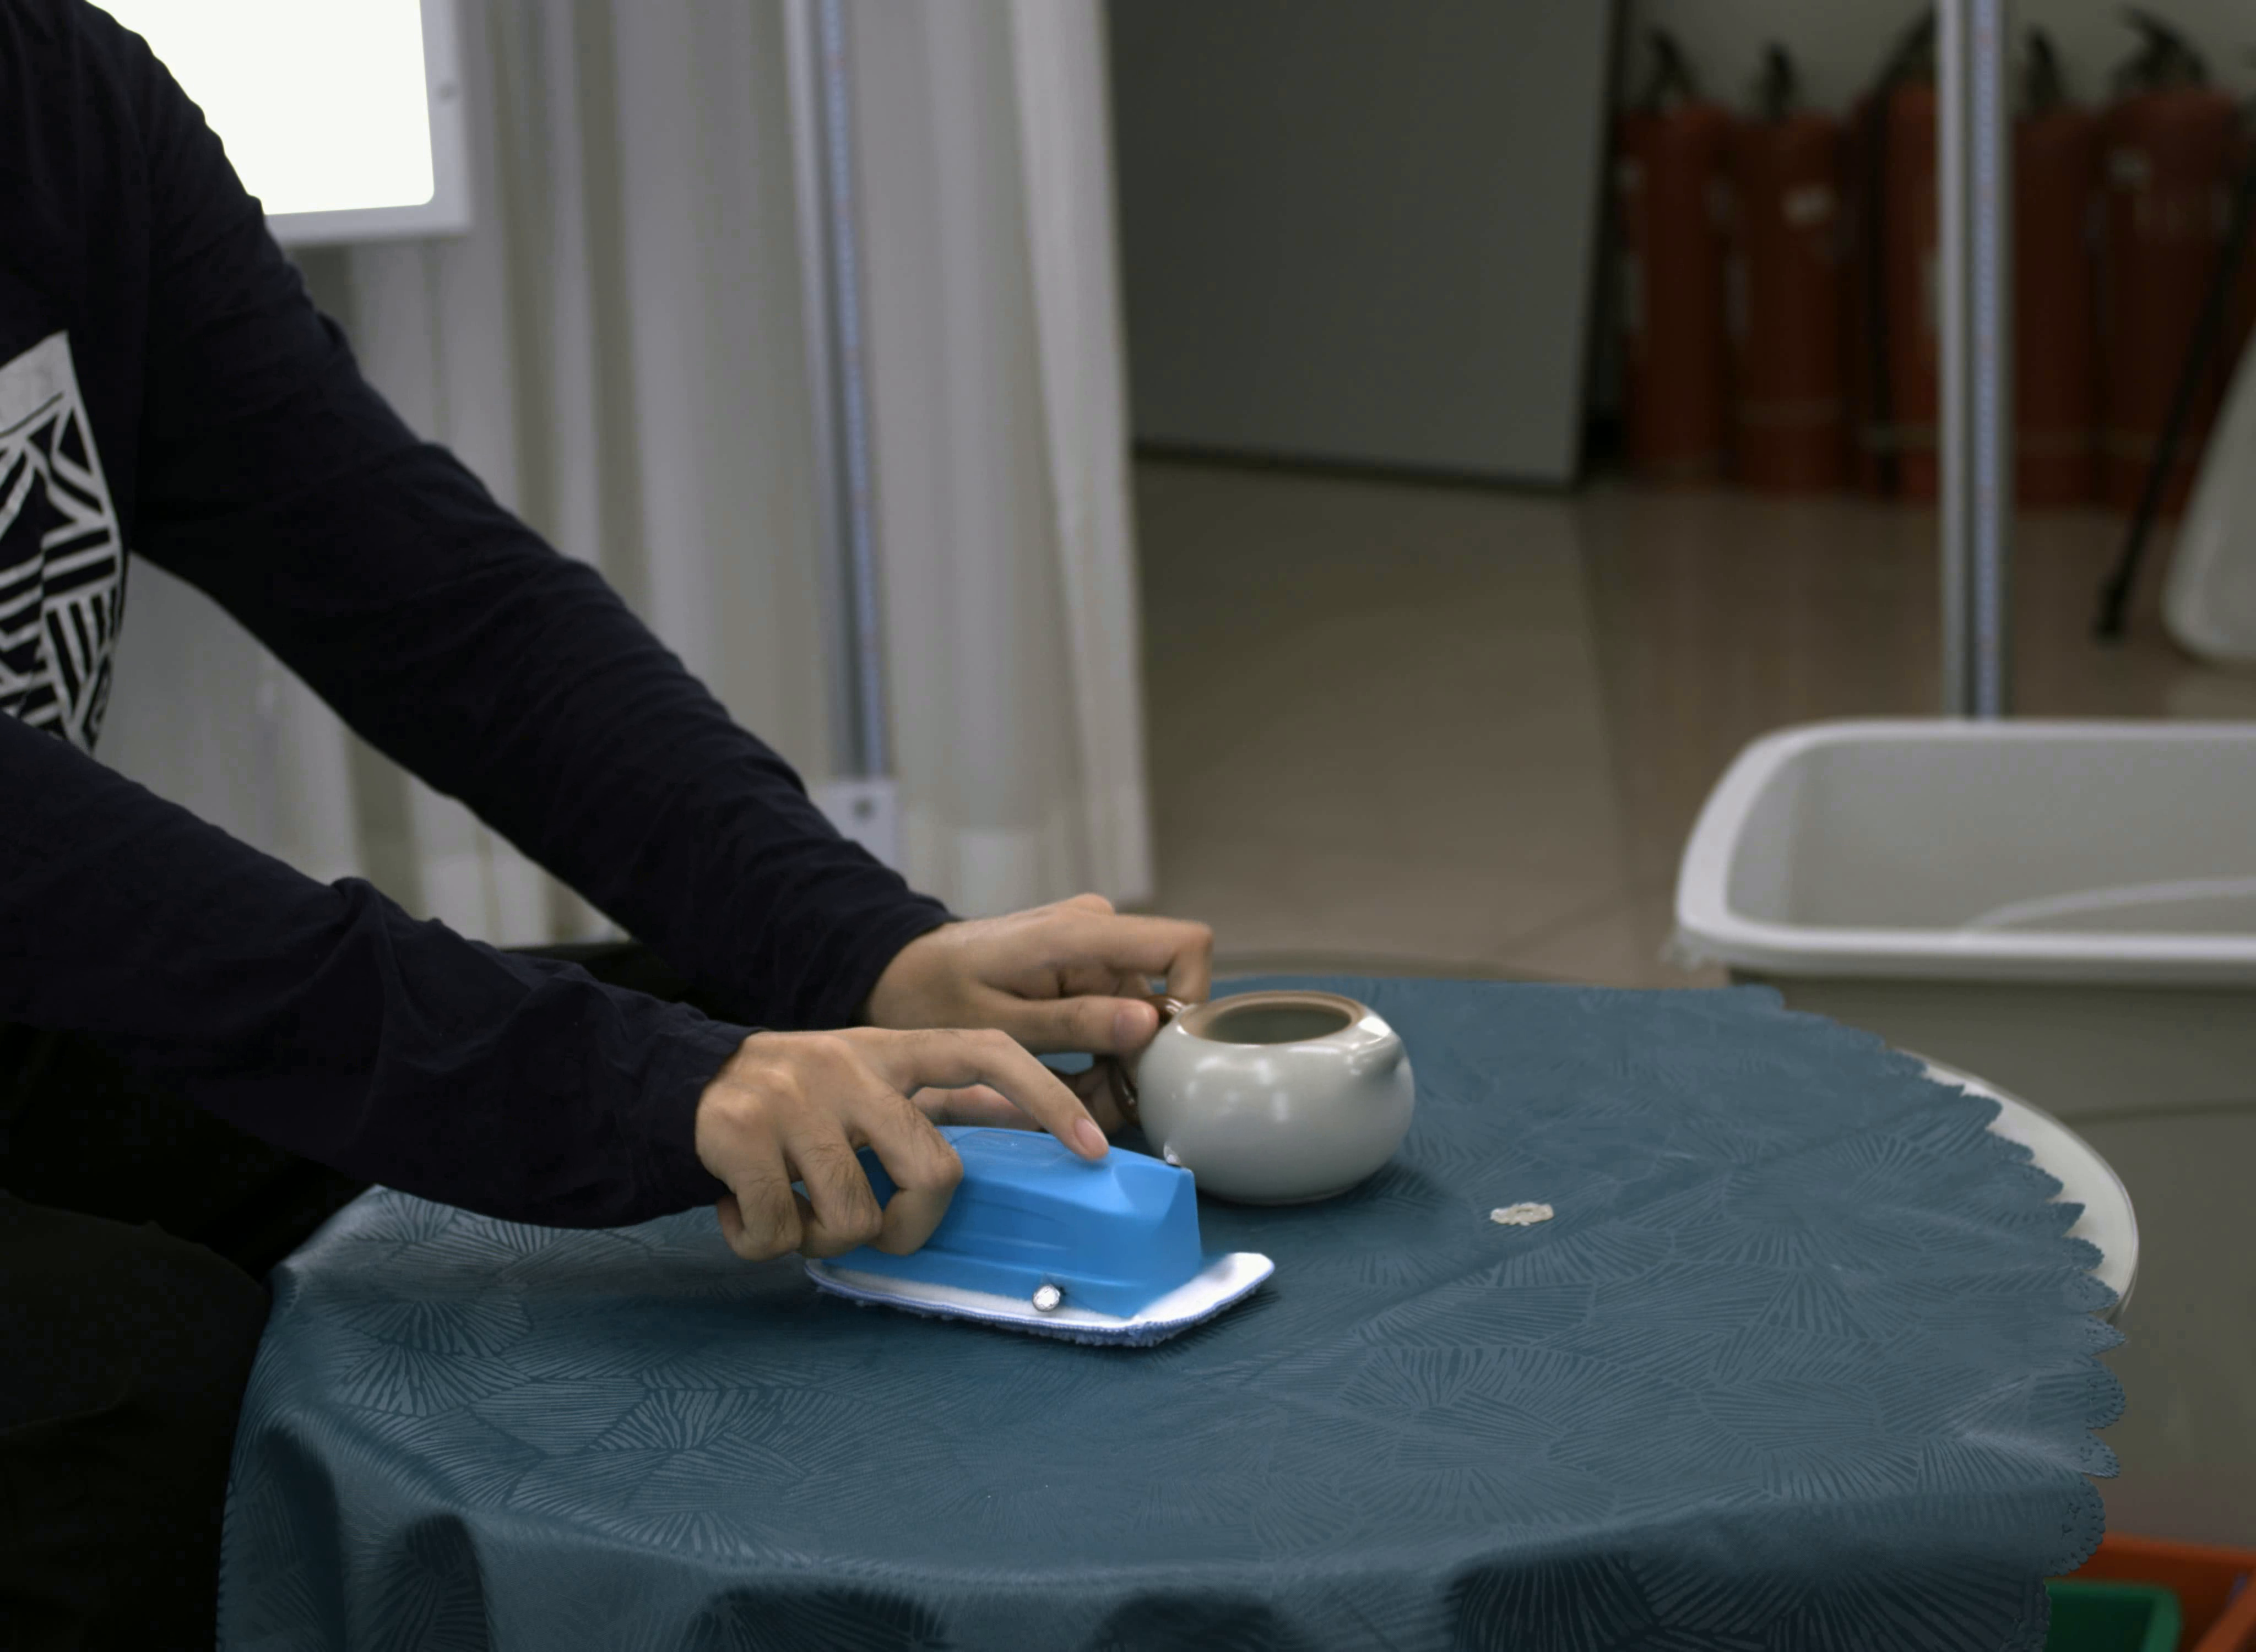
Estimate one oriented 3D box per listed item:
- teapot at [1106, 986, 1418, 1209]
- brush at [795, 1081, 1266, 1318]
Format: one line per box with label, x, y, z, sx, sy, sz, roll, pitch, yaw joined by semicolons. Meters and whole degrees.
teapot;0.043;0.088;1.774;0.129;0.060;0.090;9;22;39
brush;-0.029;0.114;1.671;0.145;0.056;0.082;13;15;34
